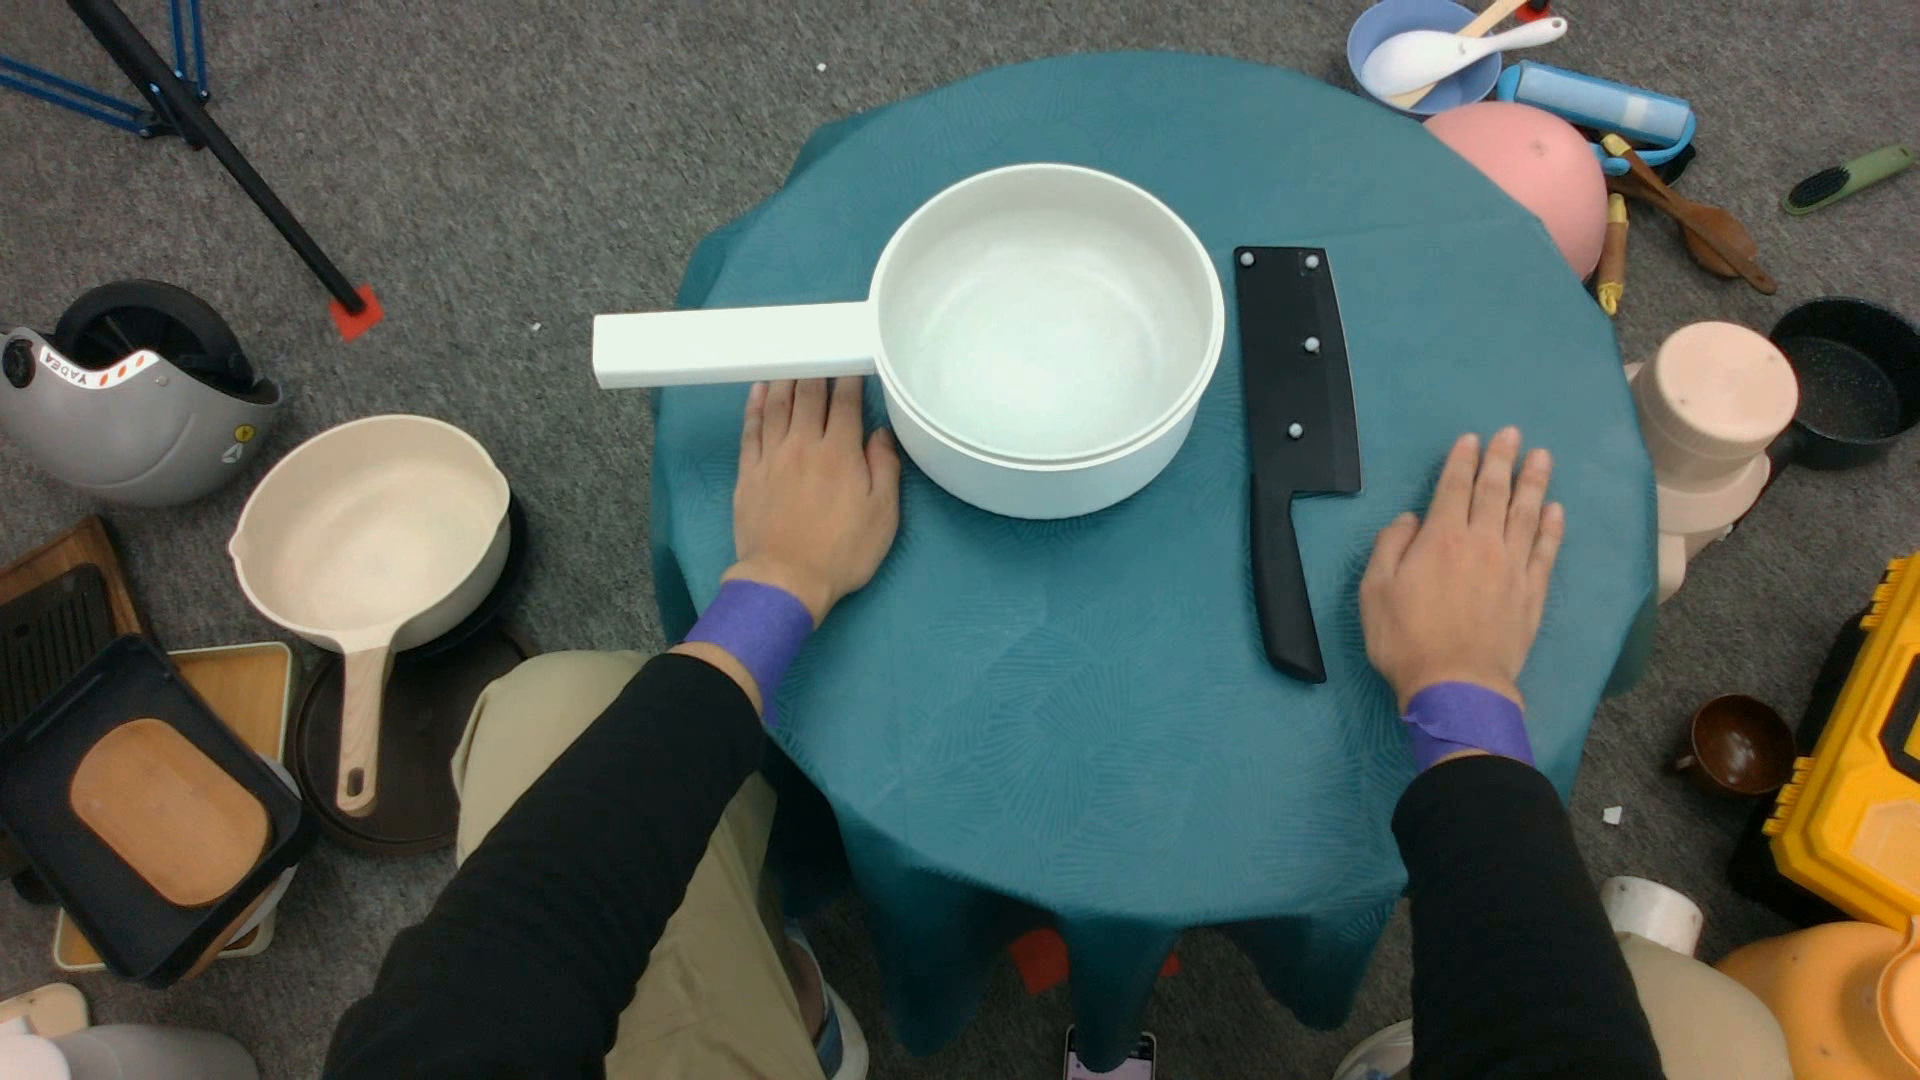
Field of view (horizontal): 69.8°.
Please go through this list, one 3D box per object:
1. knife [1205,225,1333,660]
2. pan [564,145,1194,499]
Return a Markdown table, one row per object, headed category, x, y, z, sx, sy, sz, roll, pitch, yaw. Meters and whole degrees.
| category | x | y | z | sx | sy | sz | roll | pitch | yaw |
| --- | --- | --- | --- | --- | --- | --- | --- | --- | --- |
| knife | 0.188 | -0.071 | 0.839 | 0.081 | 0.021 | 0.303 | 5 | 65 | 1 |
| pan | -0.045 | -0.117 | 0.814 | 0.355 | 0.102 | 0.202 | -4 | 67 | -1 |
